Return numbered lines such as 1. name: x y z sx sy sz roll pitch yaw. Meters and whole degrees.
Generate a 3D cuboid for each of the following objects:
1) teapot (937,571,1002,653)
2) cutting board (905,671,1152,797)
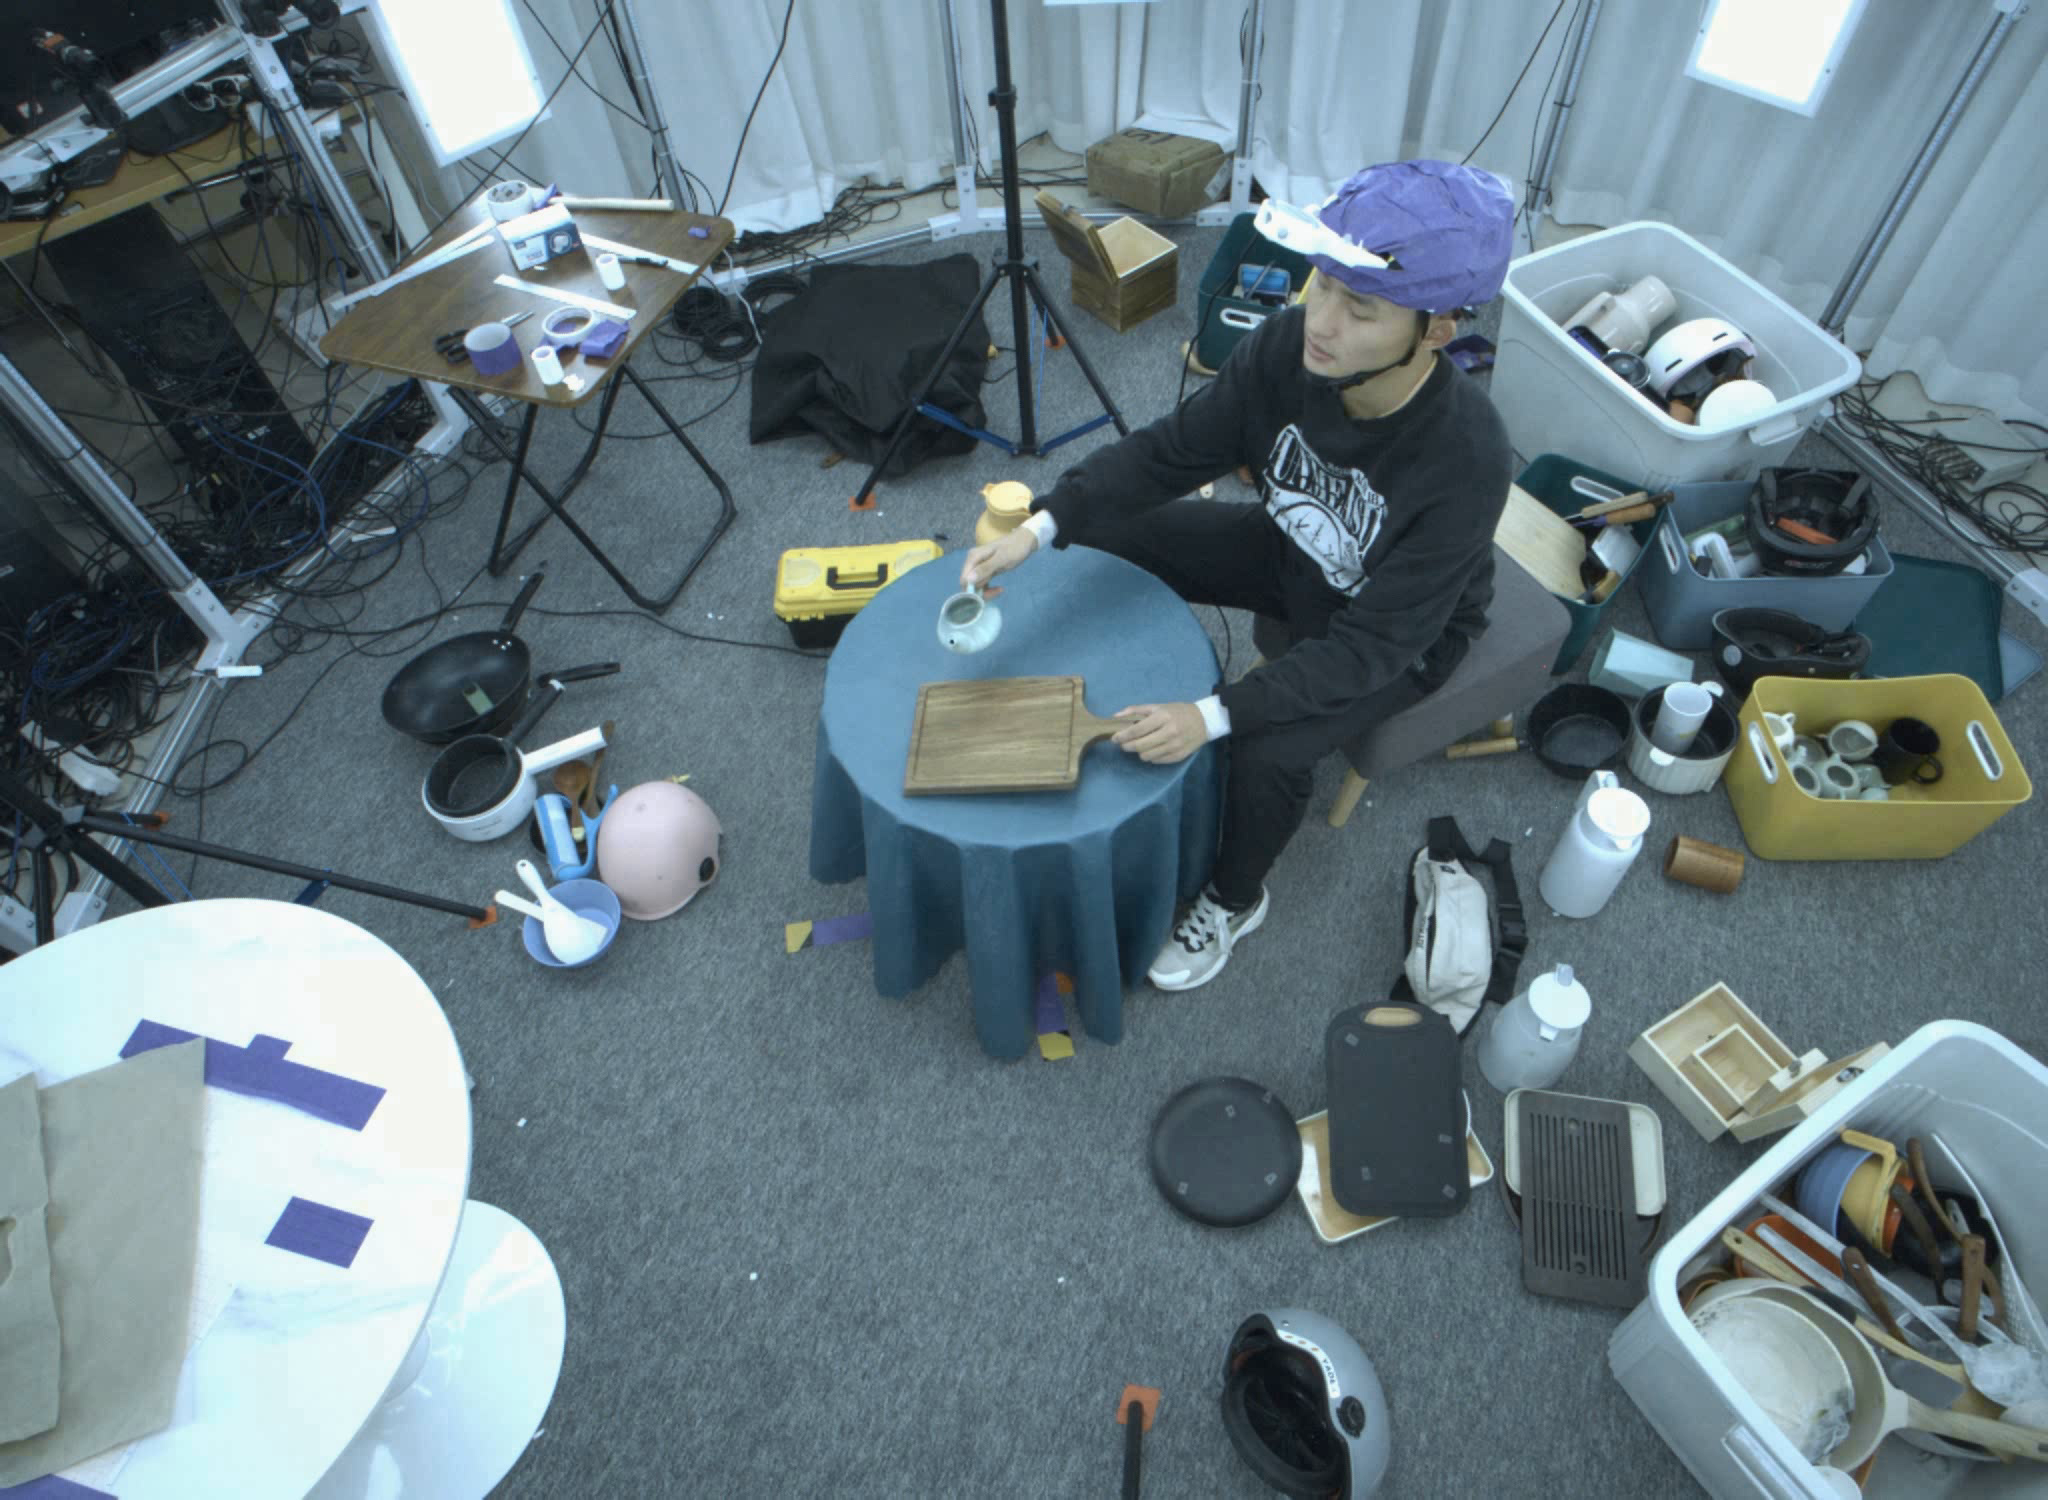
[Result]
1. teapot: -0.082 -0.192 1.763 0.095 0.062 0.136 3 62 18
2. cutting board: 0.007 -0.027 1.766 0.350 0.023 0.199 -3 54 8
